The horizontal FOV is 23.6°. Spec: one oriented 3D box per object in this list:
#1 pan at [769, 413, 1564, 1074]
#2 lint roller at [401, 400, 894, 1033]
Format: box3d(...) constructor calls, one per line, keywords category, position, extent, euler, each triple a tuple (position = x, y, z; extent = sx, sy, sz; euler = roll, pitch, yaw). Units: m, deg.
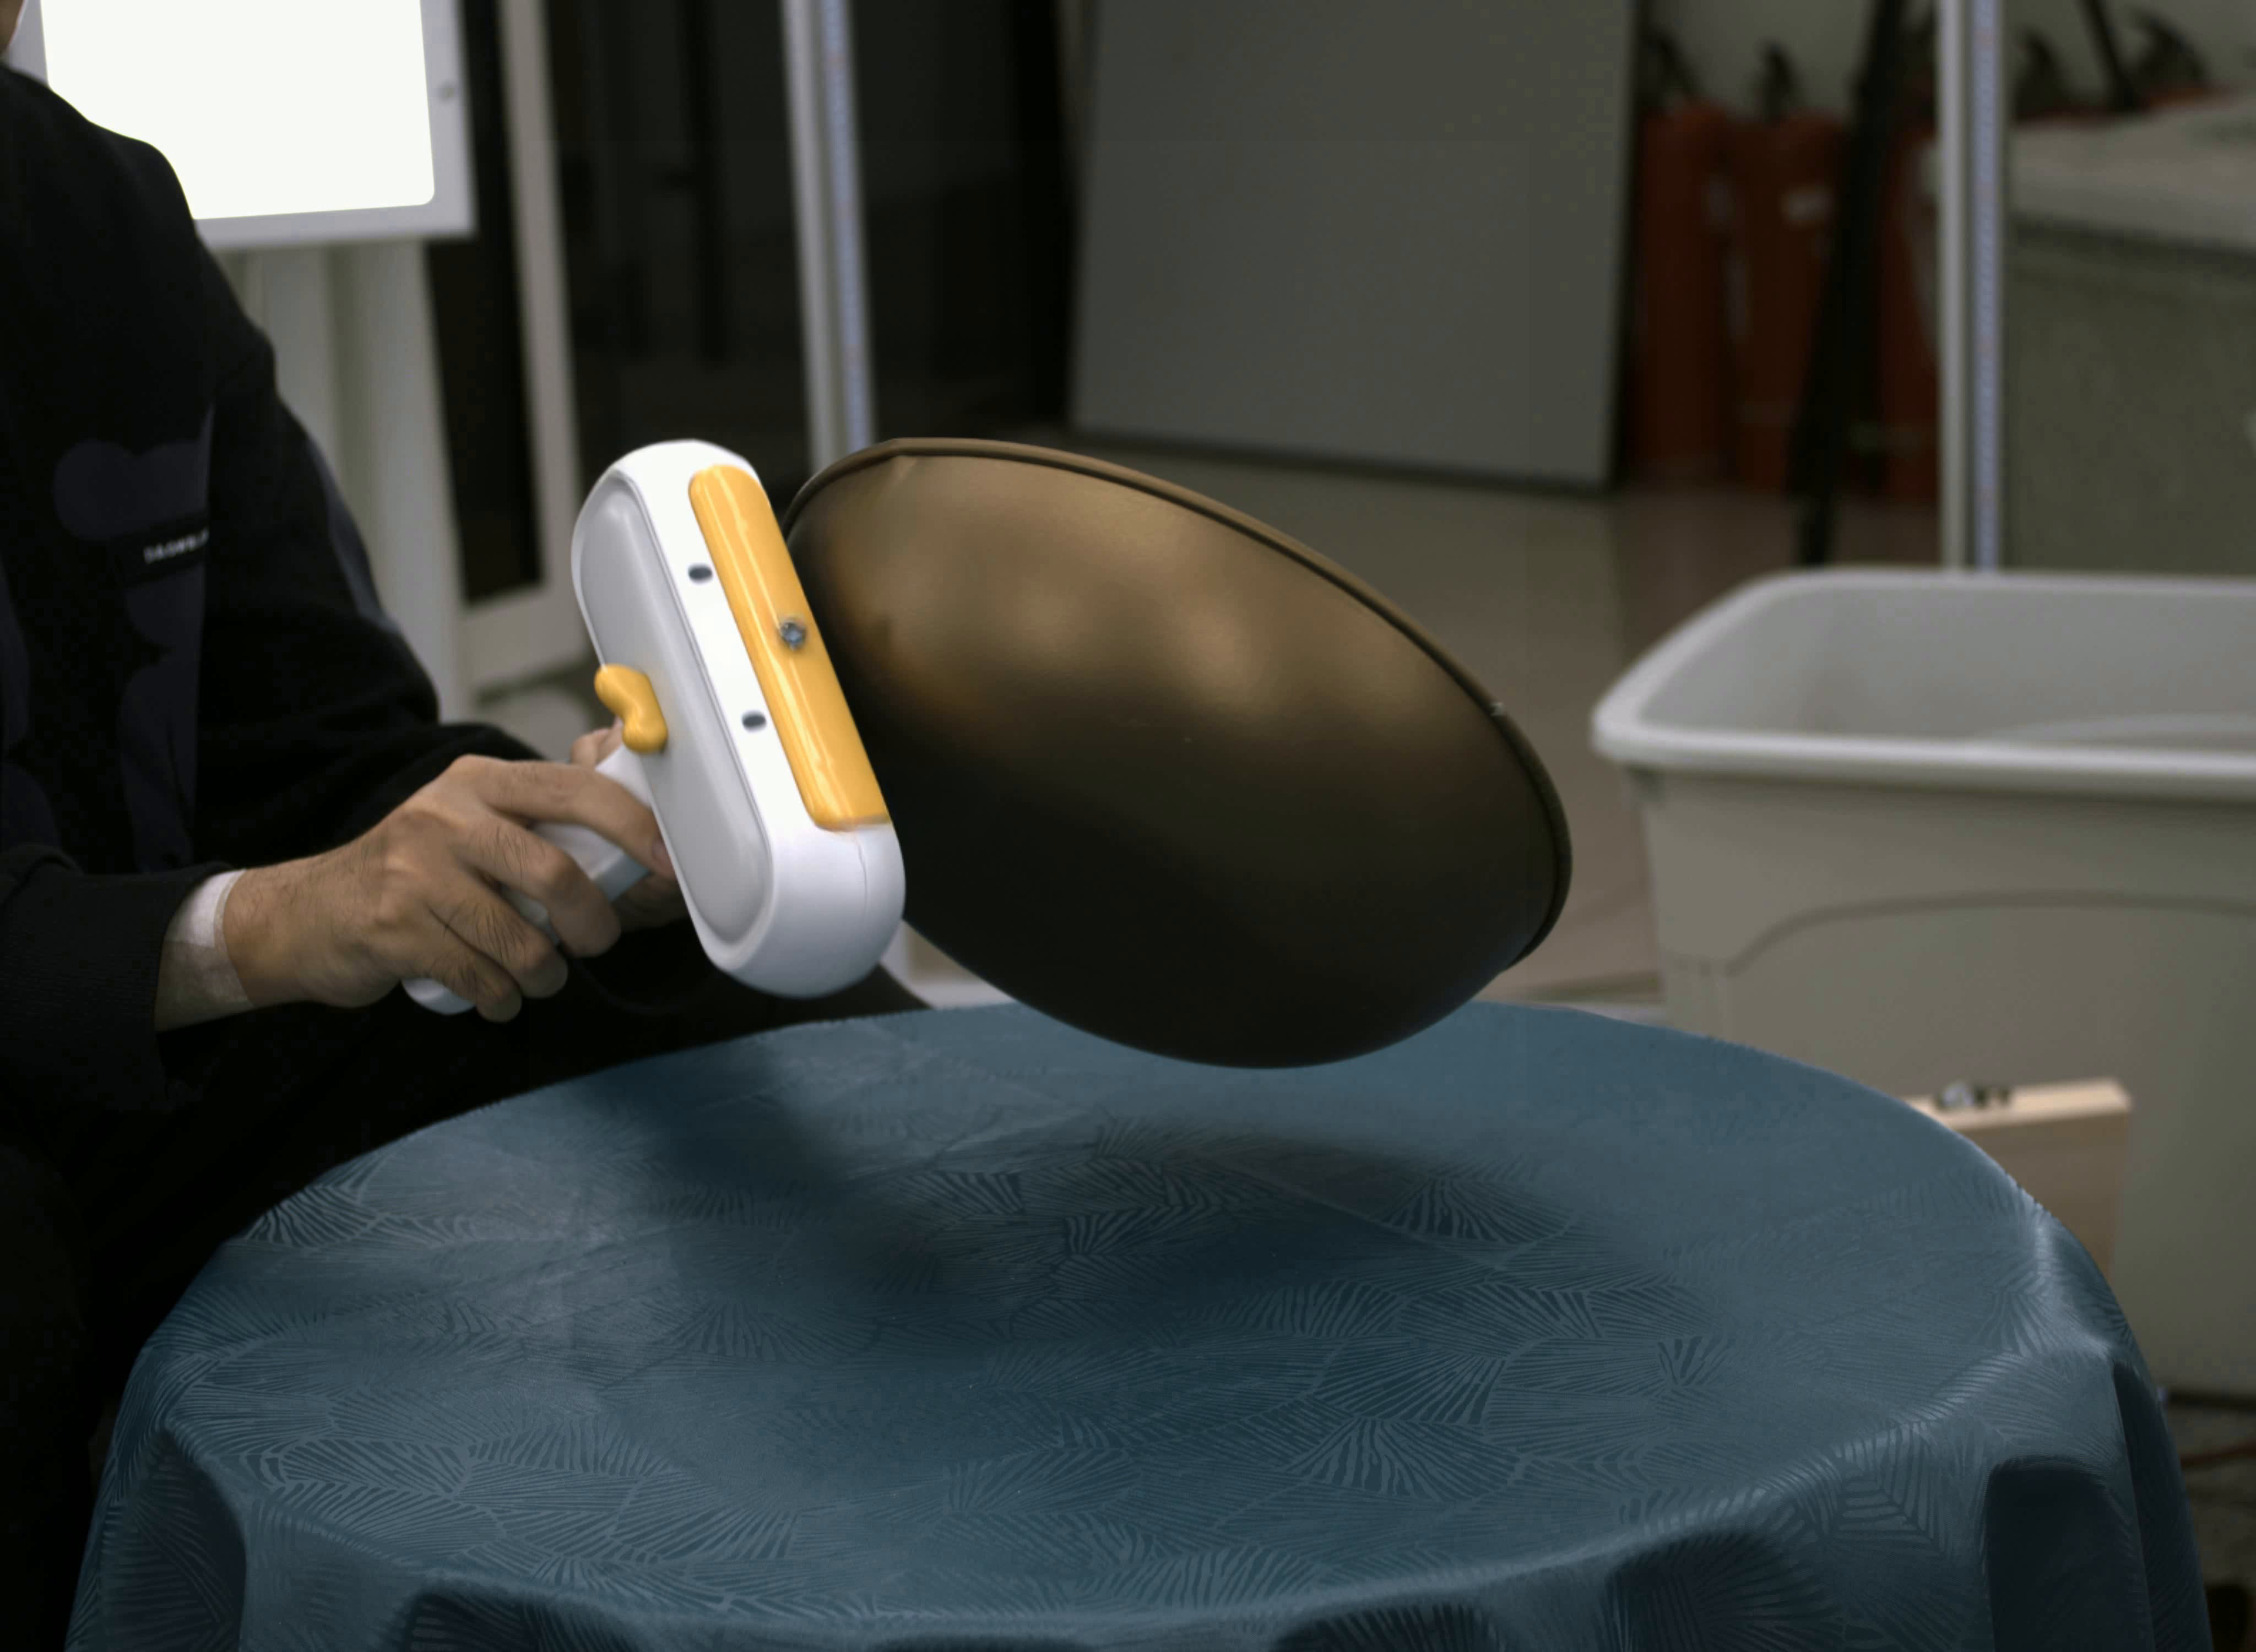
box3d(category="pan", position=(-0.065, 0.001, 1.773), extent=(0.468, 0.285, 0.087), euler=(-6, 46, 48))
box3d(category="lint roller", position=(-0.161, -0.008, 1.695), extent=(0.072, 0.194, 0.195), euler=(2, 47, -41))
